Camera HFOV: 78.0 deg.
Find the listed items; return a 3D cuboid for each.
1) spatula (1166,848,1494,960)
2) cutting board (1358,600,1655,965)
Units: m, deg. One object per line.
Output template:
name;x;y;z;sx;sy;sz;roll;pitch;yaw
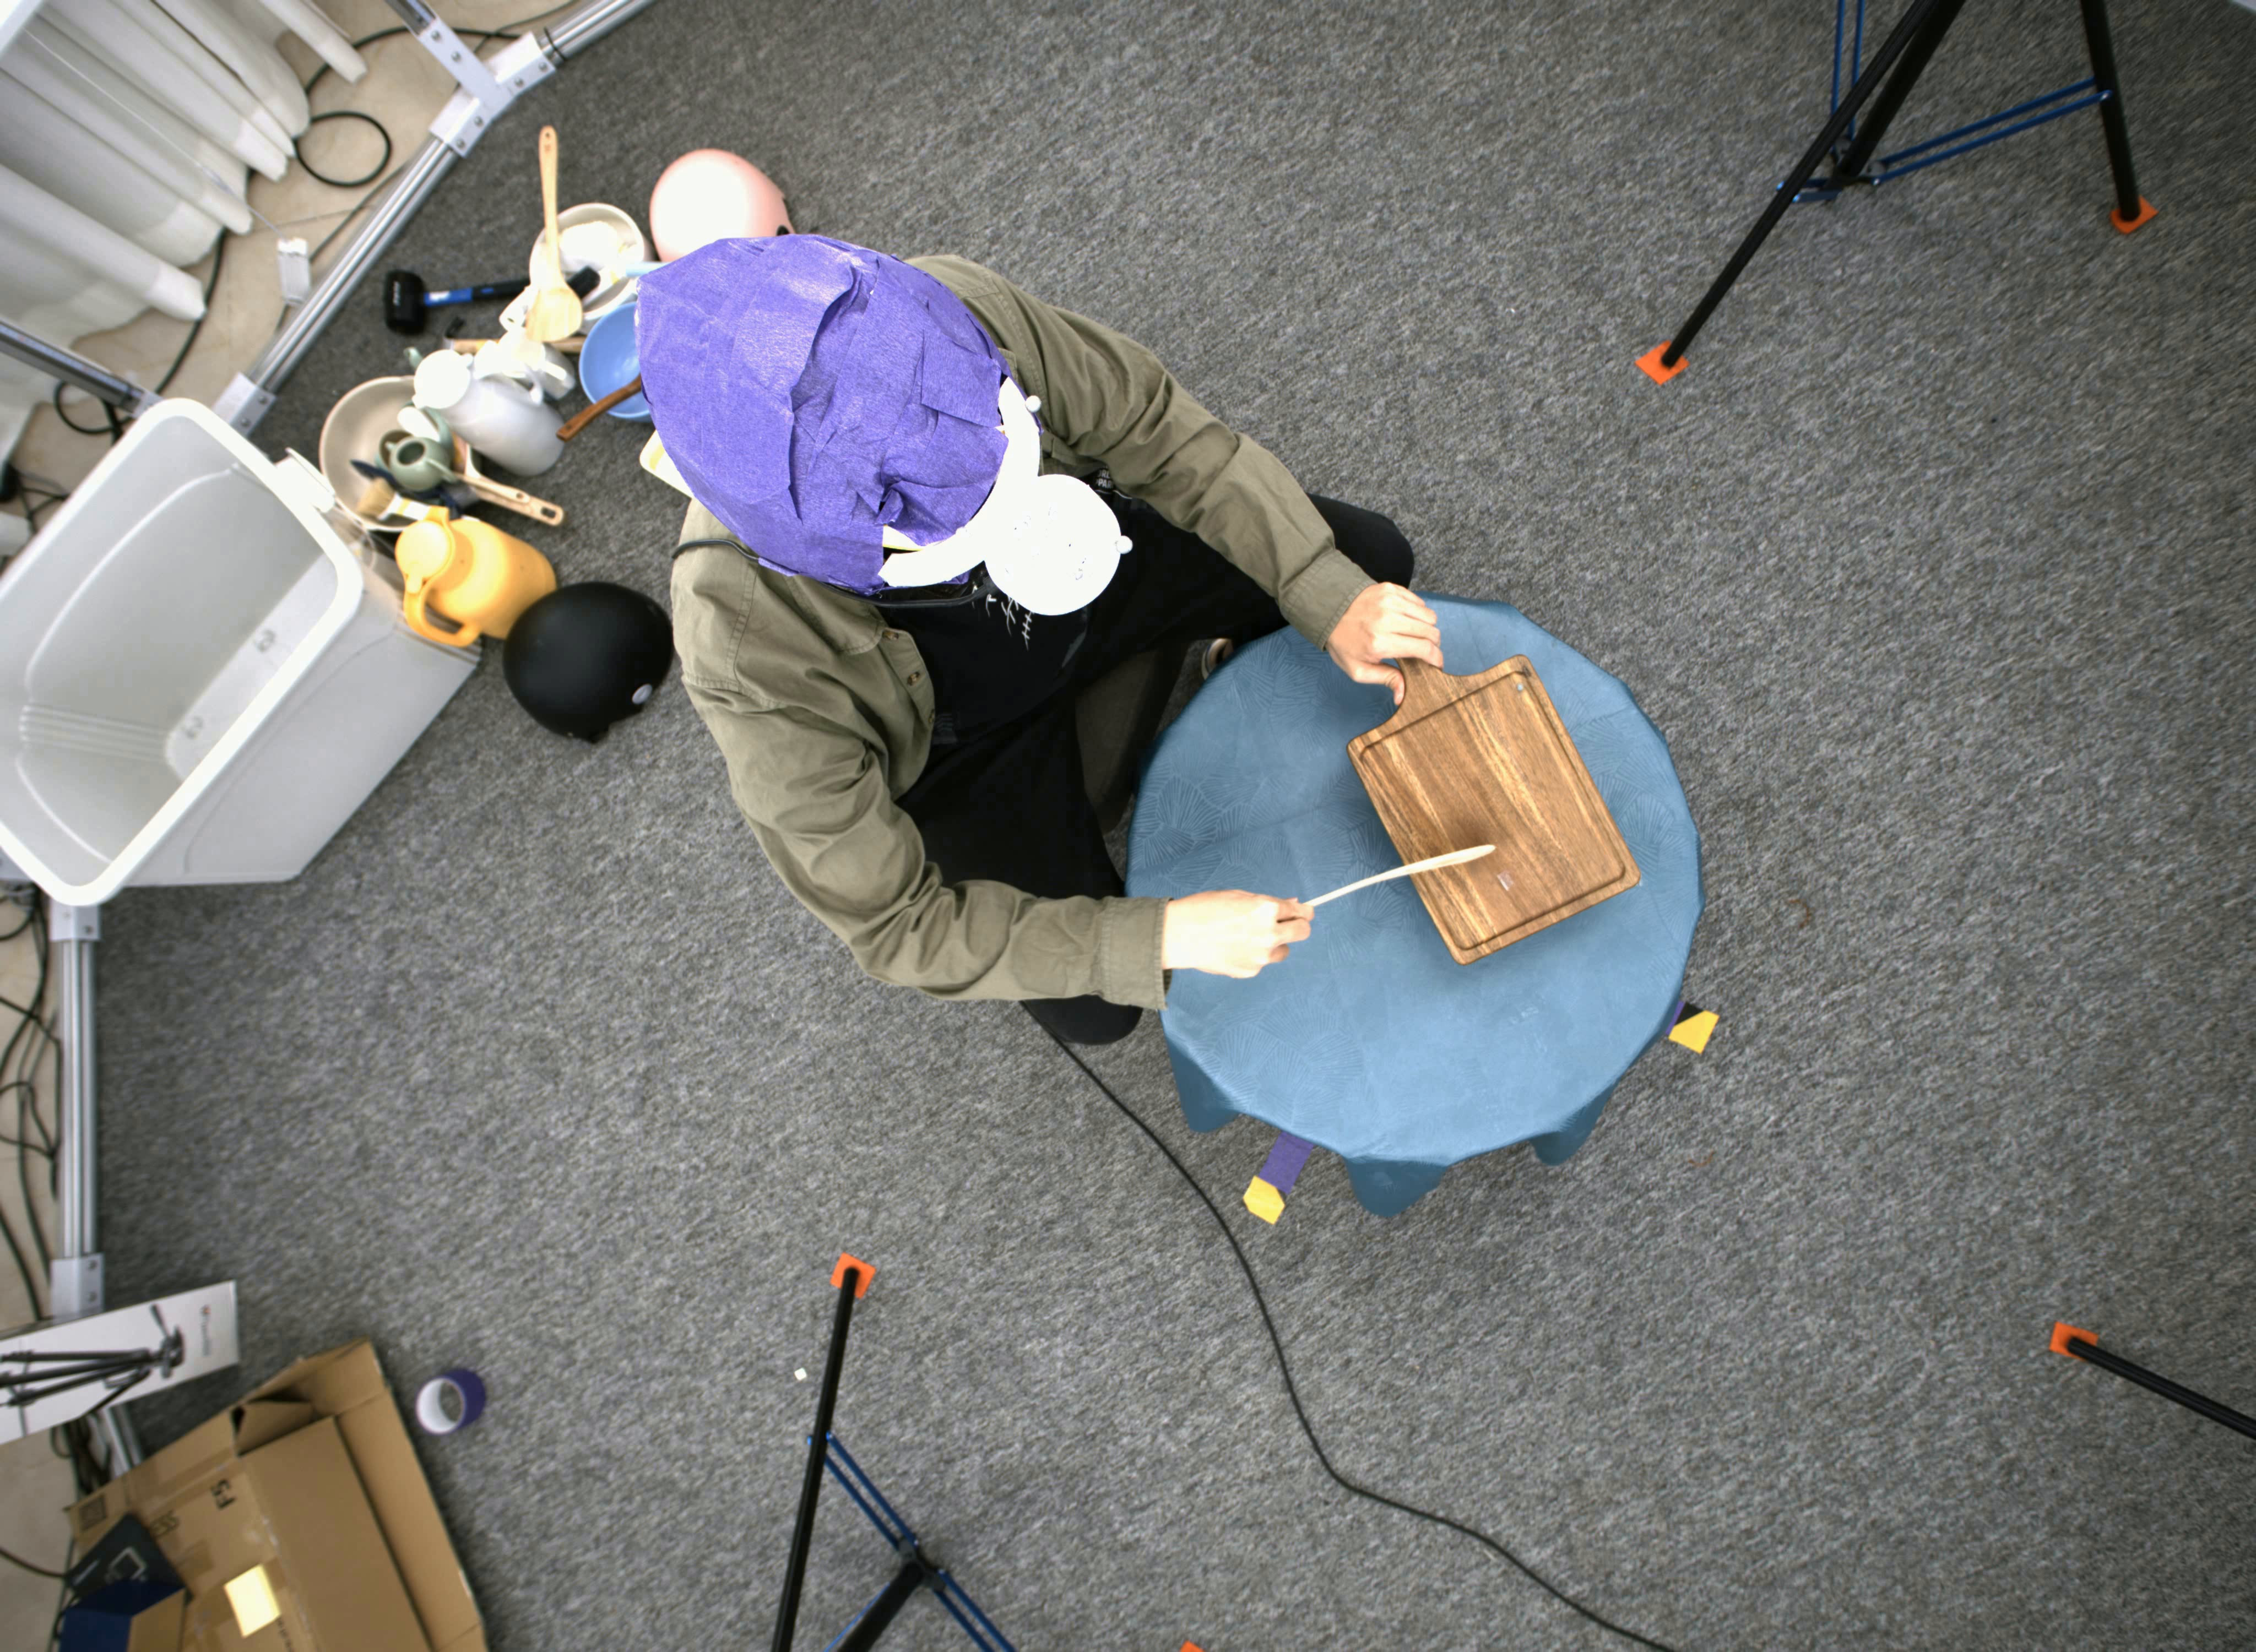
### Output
spatula;0.190;0.070;1.278;0.327;0.080;0.016;-19;82;-6
cutting board;0.343;-0.062;1.329;0.203;0.023;0.352;-26;91;16
